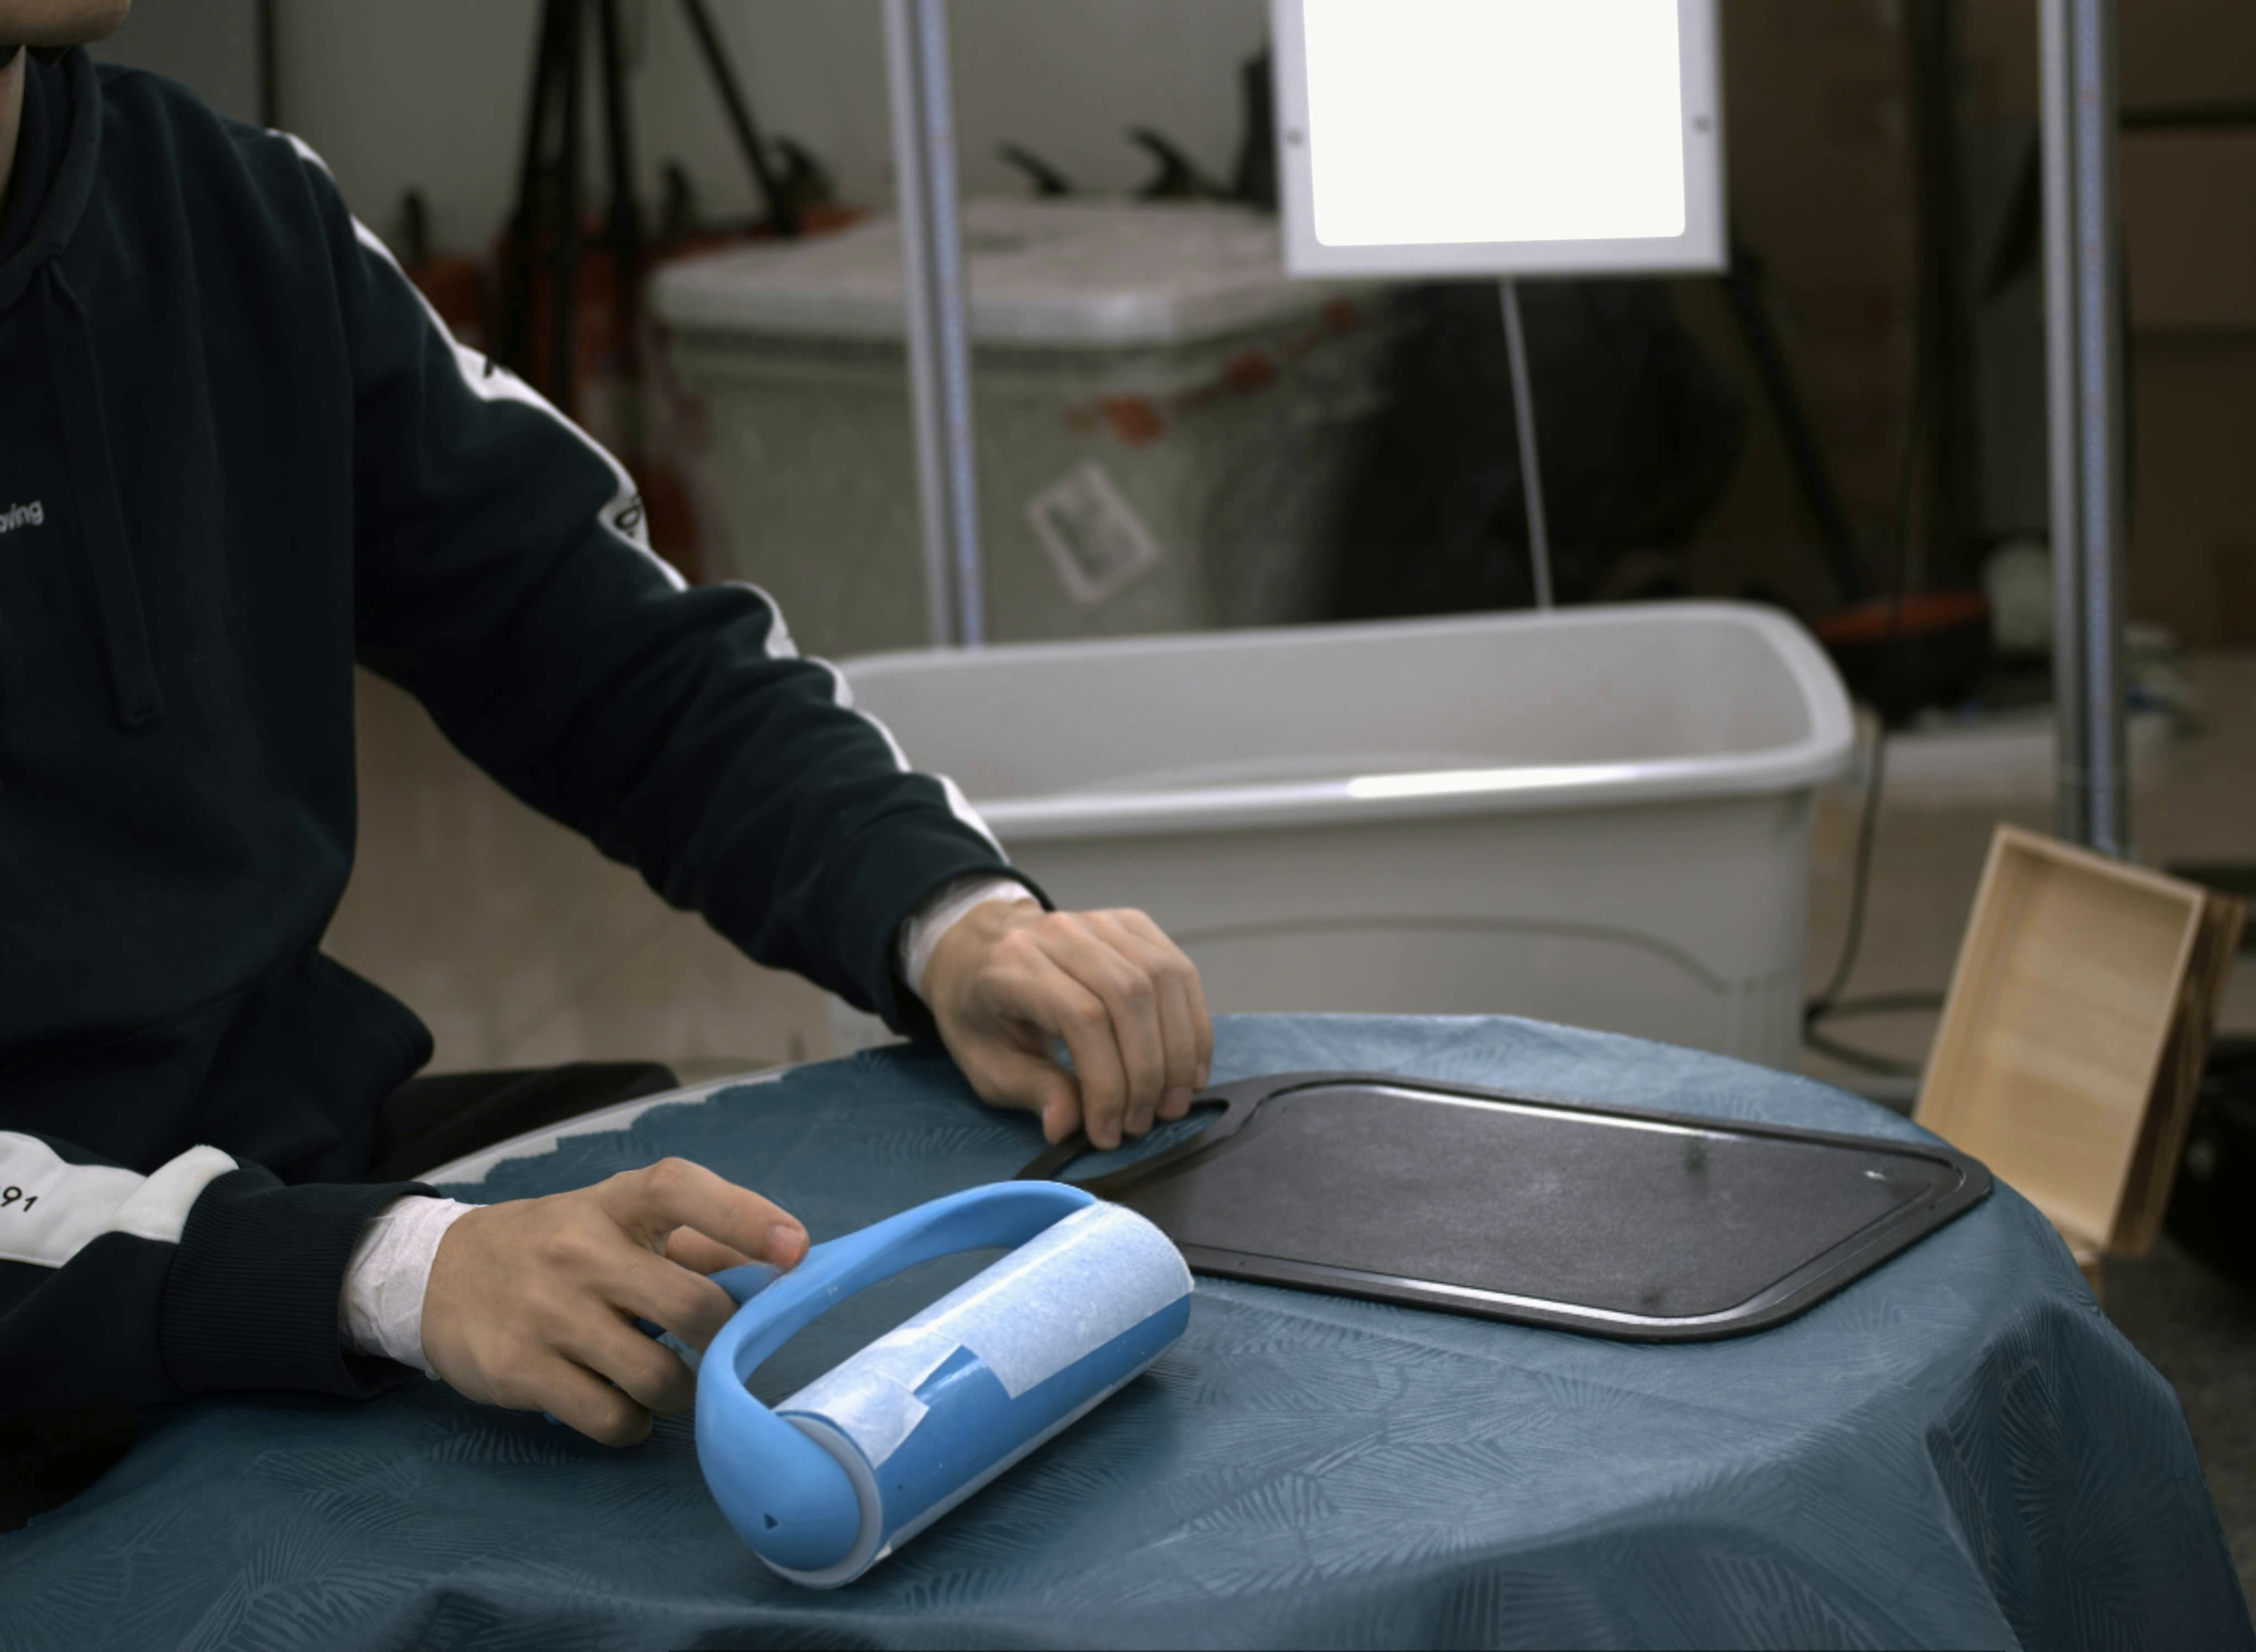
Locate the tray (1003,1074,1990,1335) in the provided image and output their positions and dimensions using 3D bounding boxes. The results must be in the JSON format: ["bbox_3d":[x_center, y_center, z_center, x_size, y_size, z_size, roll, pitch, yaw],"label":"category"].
[{"bbox_3d":[0.115,0.123,1.854,0.332,0.010,0.206,5,17,38],"label":"tray"}]

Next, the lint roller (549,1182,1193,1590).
[{"bbox_3d":[-0.100,0.163,1.663,0.183,0.068,0.224,3,17,26],"label":"lint roller"}]
